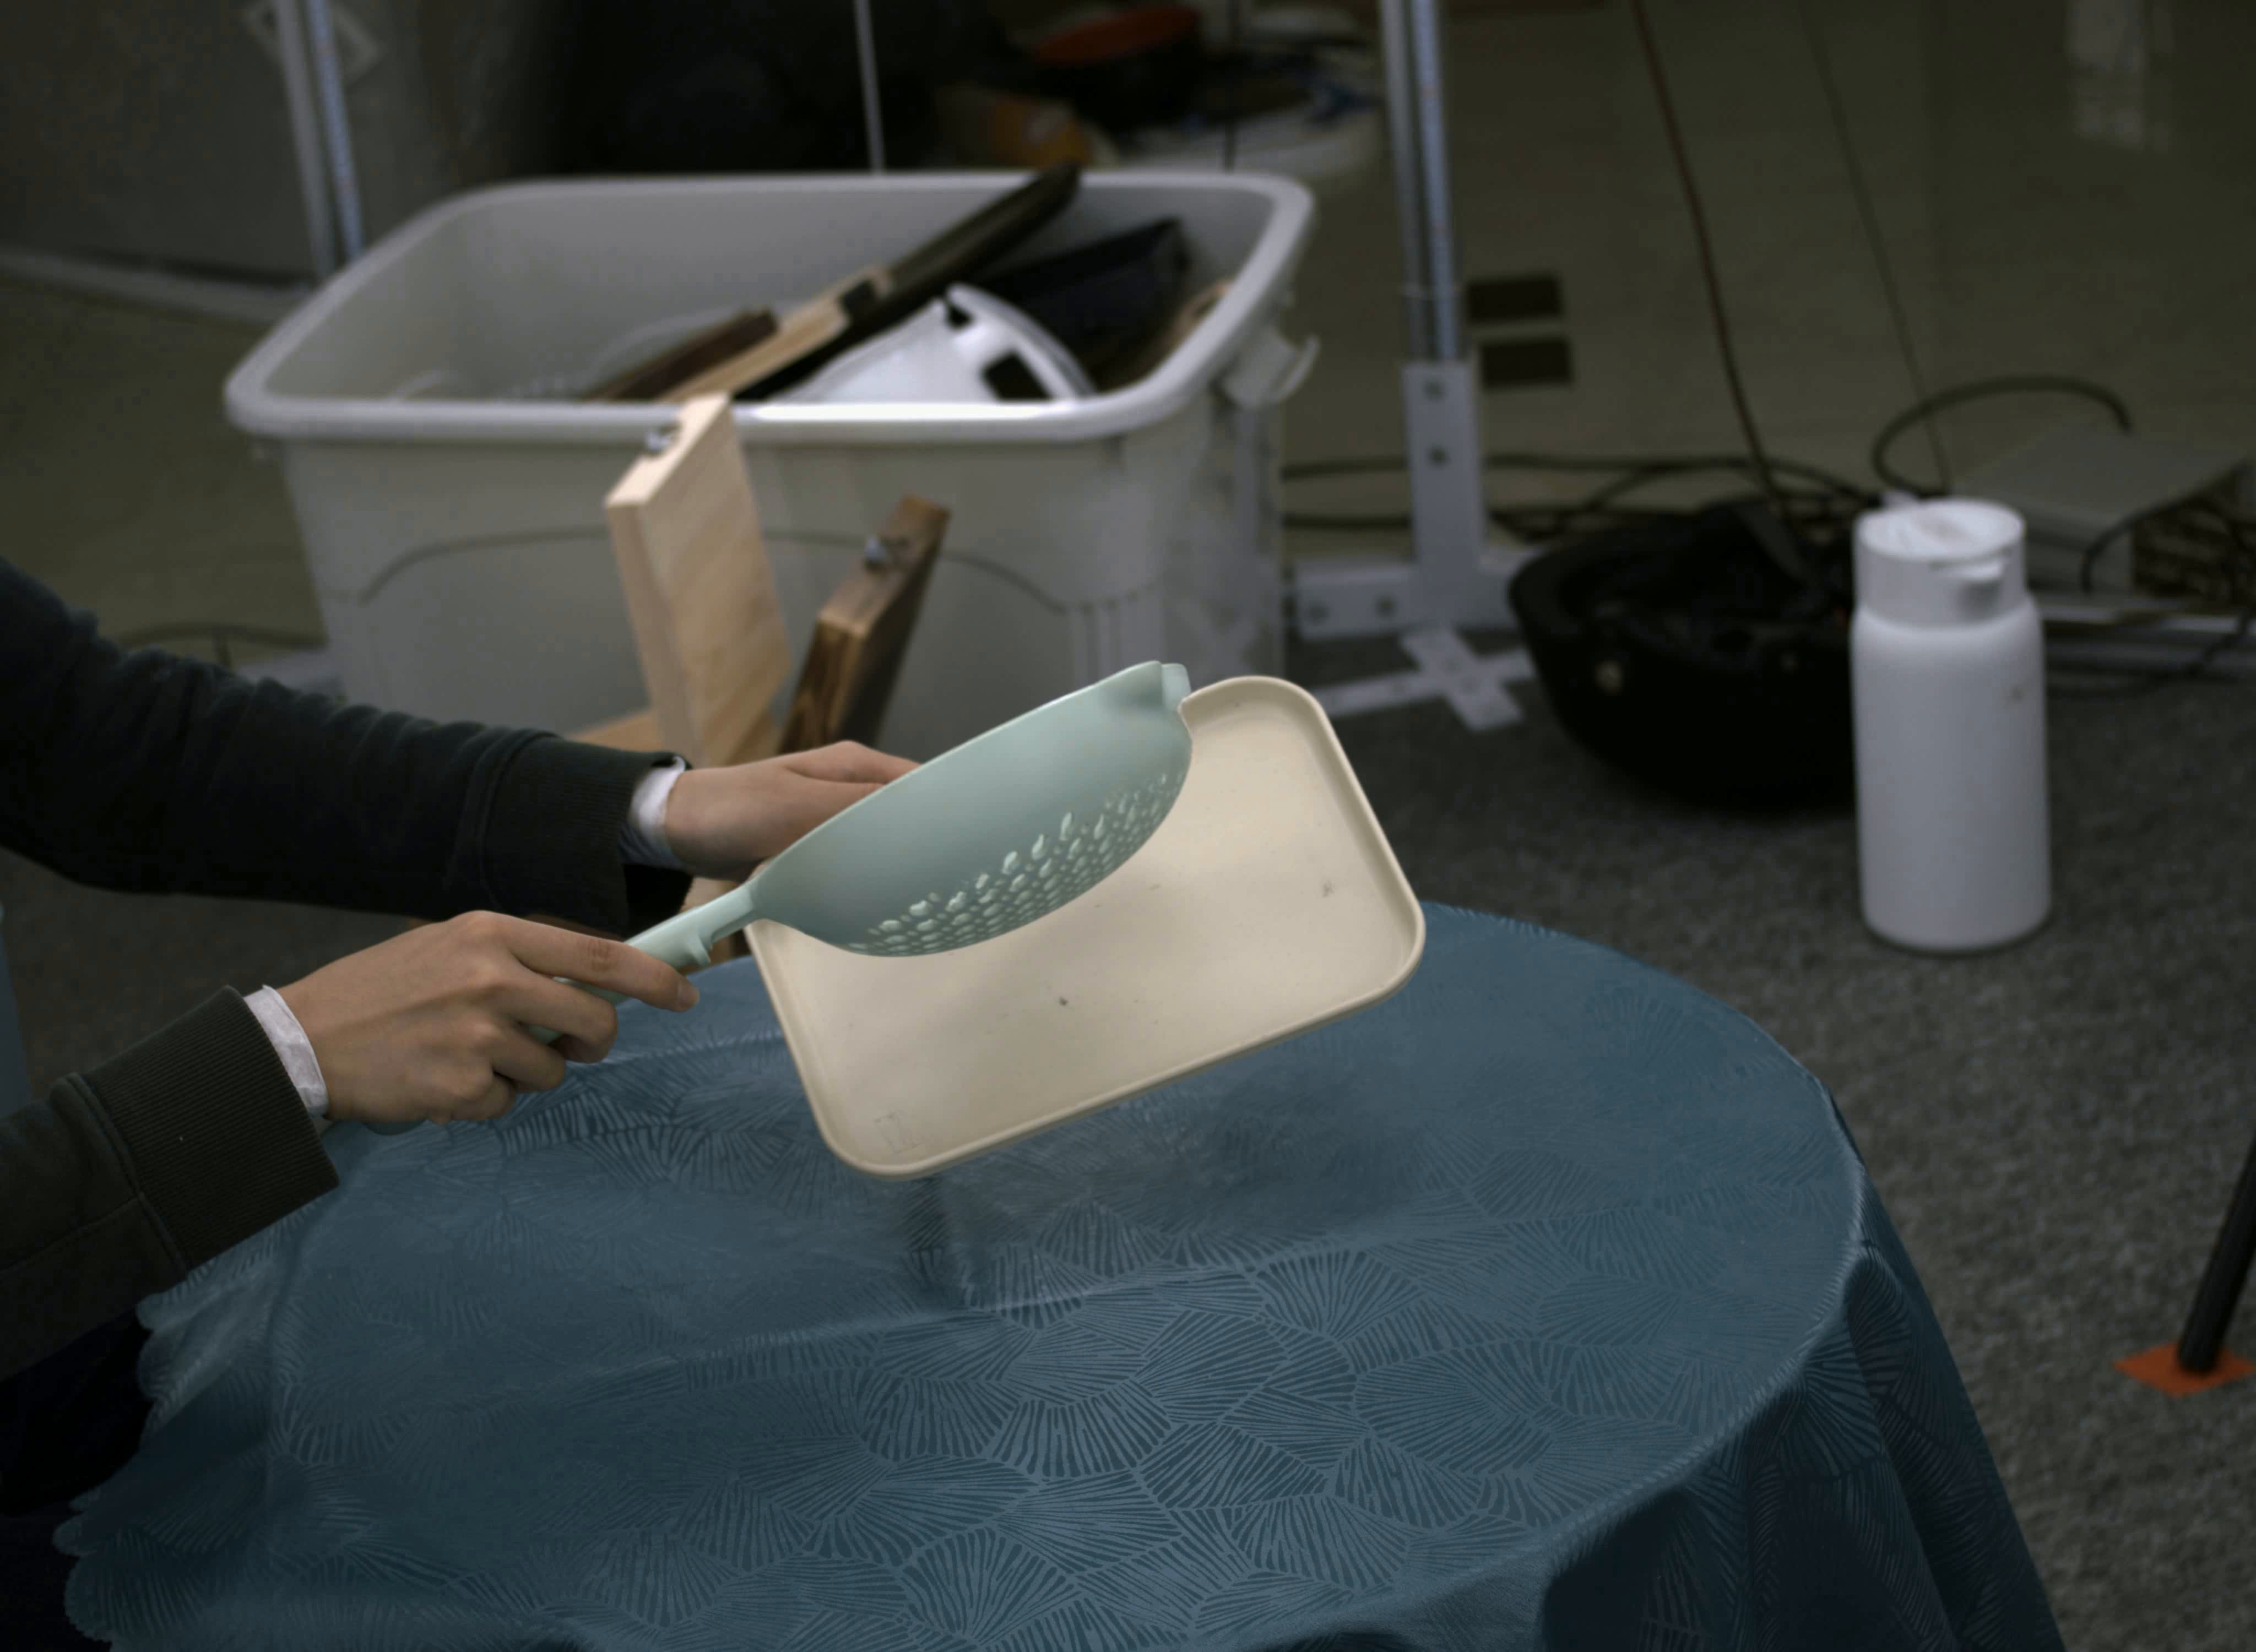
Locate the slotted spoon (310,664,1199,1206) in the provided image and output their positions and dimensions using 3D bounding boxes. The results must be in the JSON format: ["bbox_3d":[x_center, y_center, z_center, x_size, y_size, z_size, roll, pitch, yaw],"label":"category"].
[{"bbox_3d":[-0.134,0.039,2.020,0.358,0.075,0.170,-20,-6,-3],"label":"slotted spoon"}]

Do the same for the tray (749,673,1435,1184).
[{"bbox_3d":[-0.014,0.039,2.141,0.239,0.018,0.168,-21,51,-4],"label":"tray"}]
